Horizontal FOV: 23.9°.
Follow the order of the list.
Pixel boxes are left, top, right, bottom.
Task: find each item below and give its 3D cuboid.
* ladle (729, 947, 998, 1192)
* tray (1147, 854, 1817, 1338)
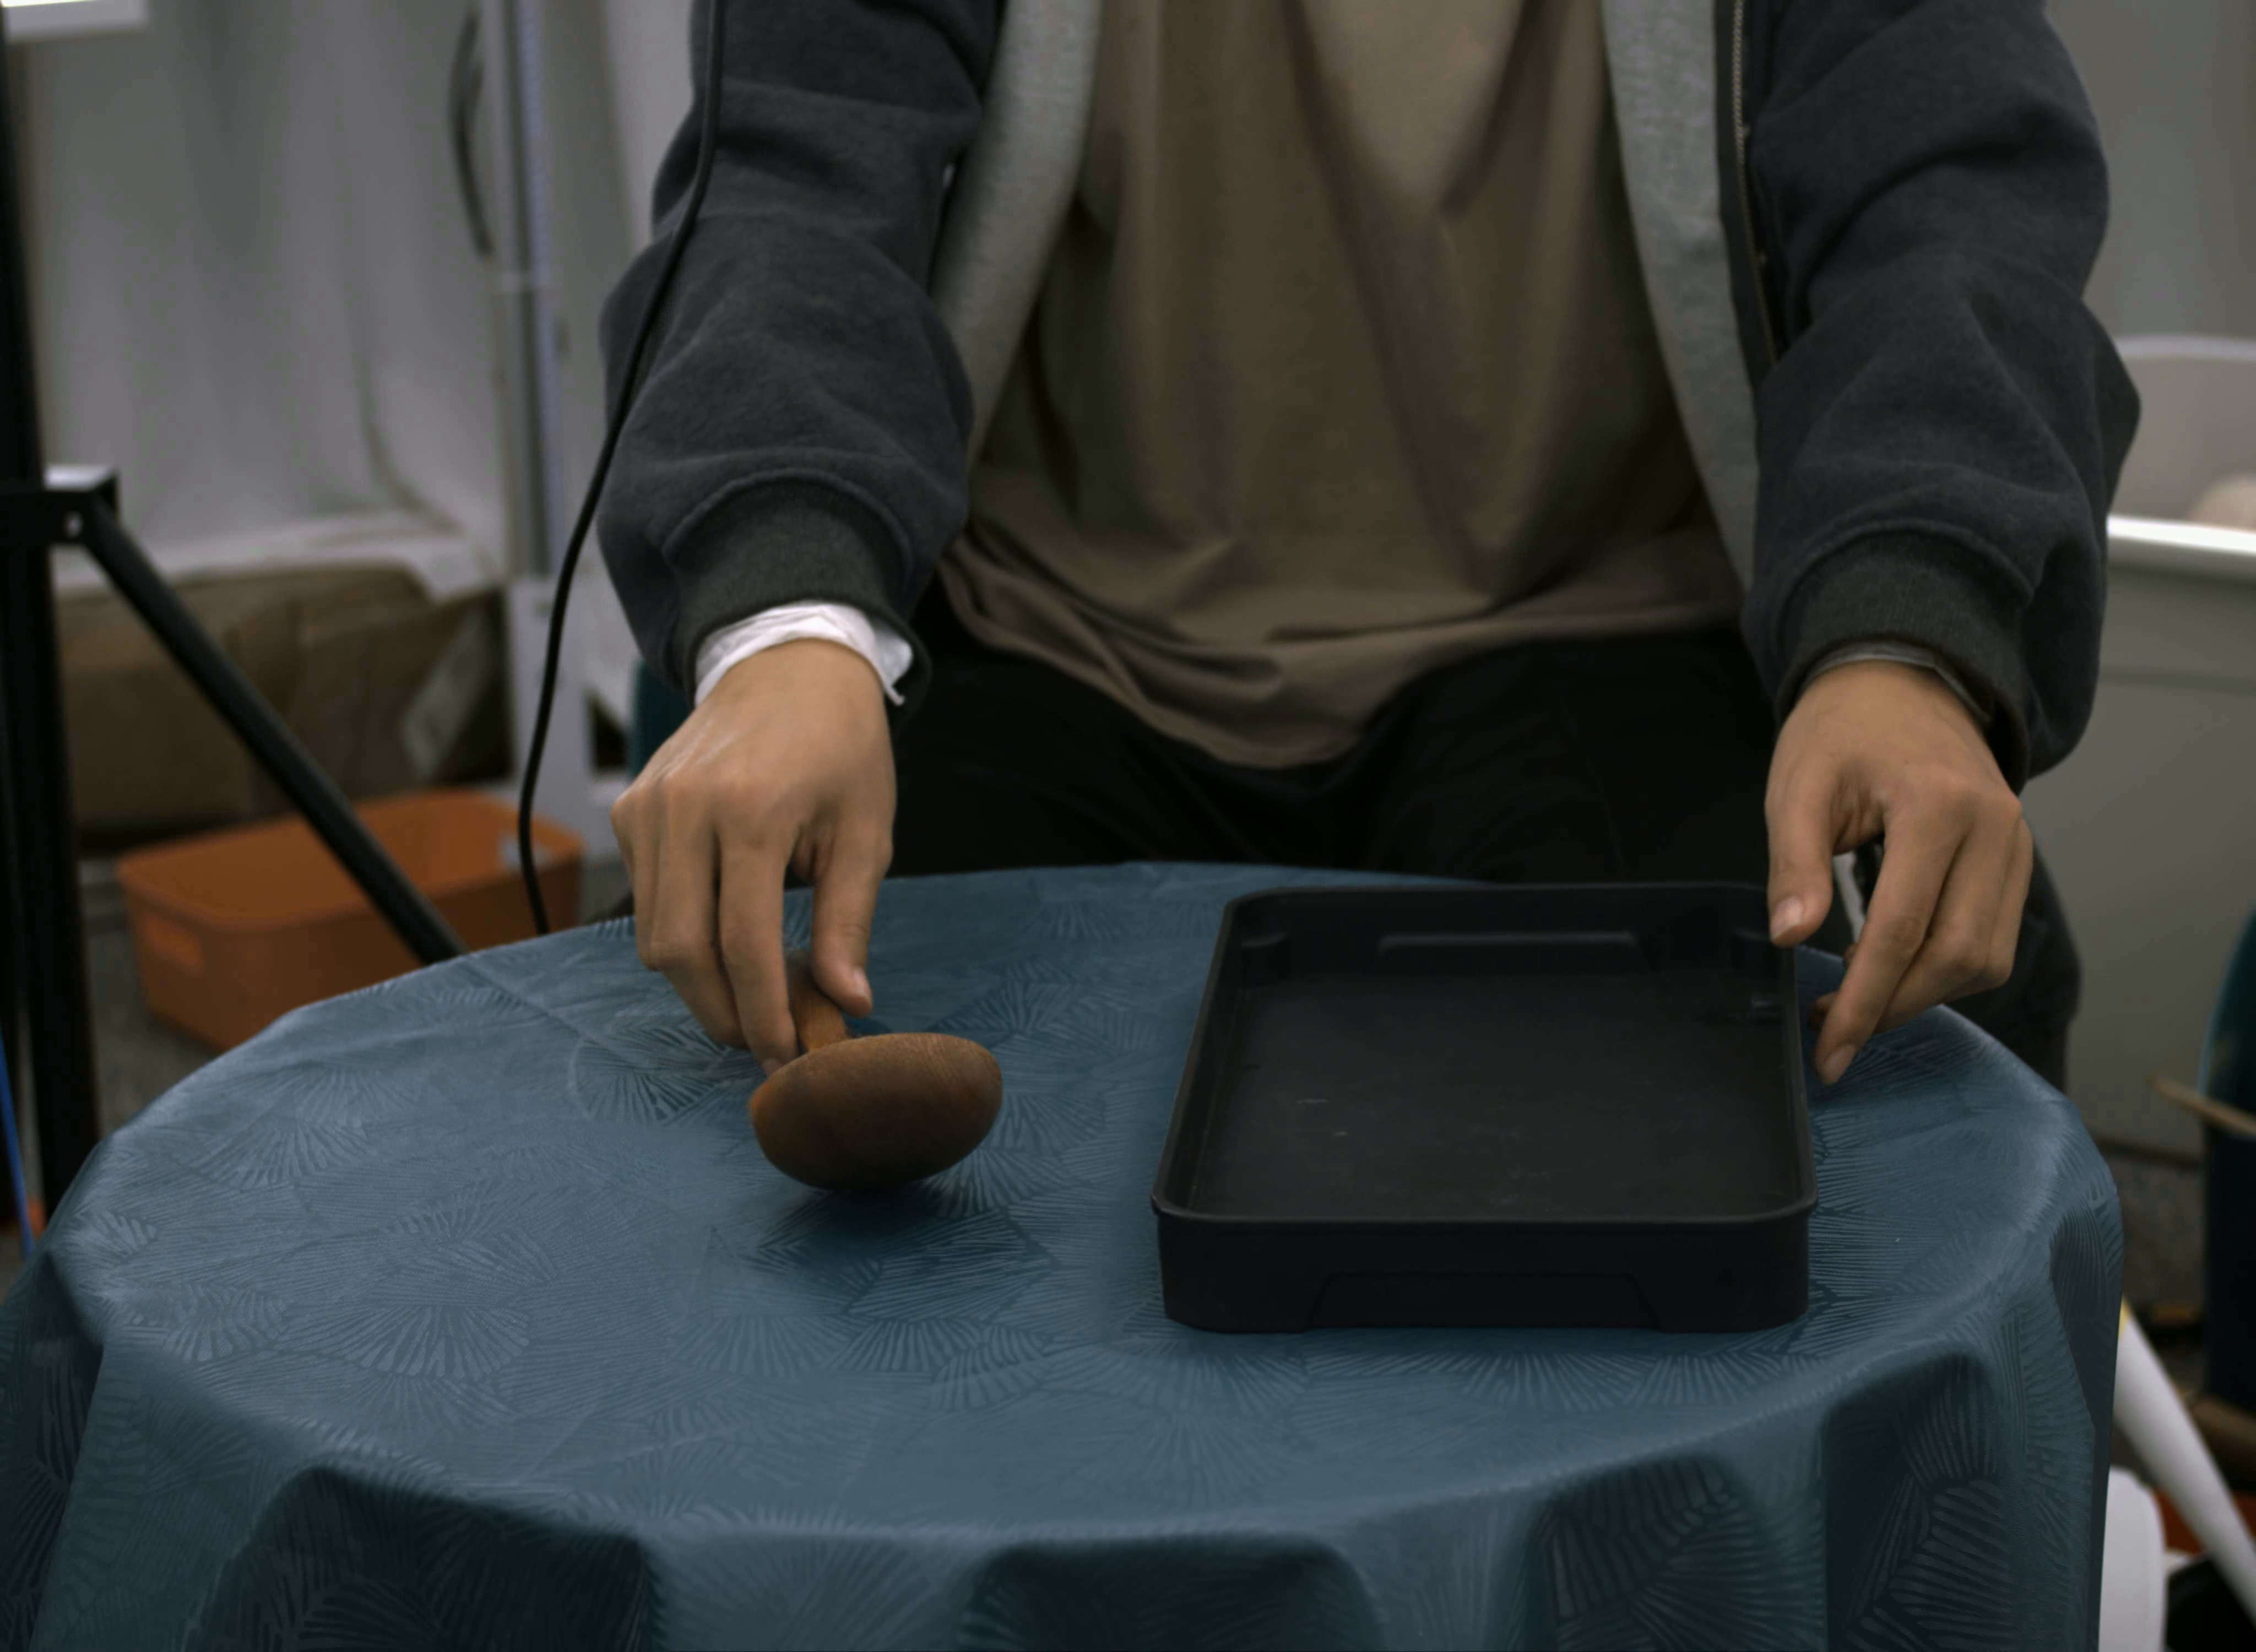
[{"bbox_3d":[-0.095,0.057,1.637,0.075,0.065,0.263,-6,16,-11],"label":"ladle"},{"bbox_3d":[0.109,0.075,1.580,0.184,0.037,0.318,-1,17,6],"label":"tray"}]
